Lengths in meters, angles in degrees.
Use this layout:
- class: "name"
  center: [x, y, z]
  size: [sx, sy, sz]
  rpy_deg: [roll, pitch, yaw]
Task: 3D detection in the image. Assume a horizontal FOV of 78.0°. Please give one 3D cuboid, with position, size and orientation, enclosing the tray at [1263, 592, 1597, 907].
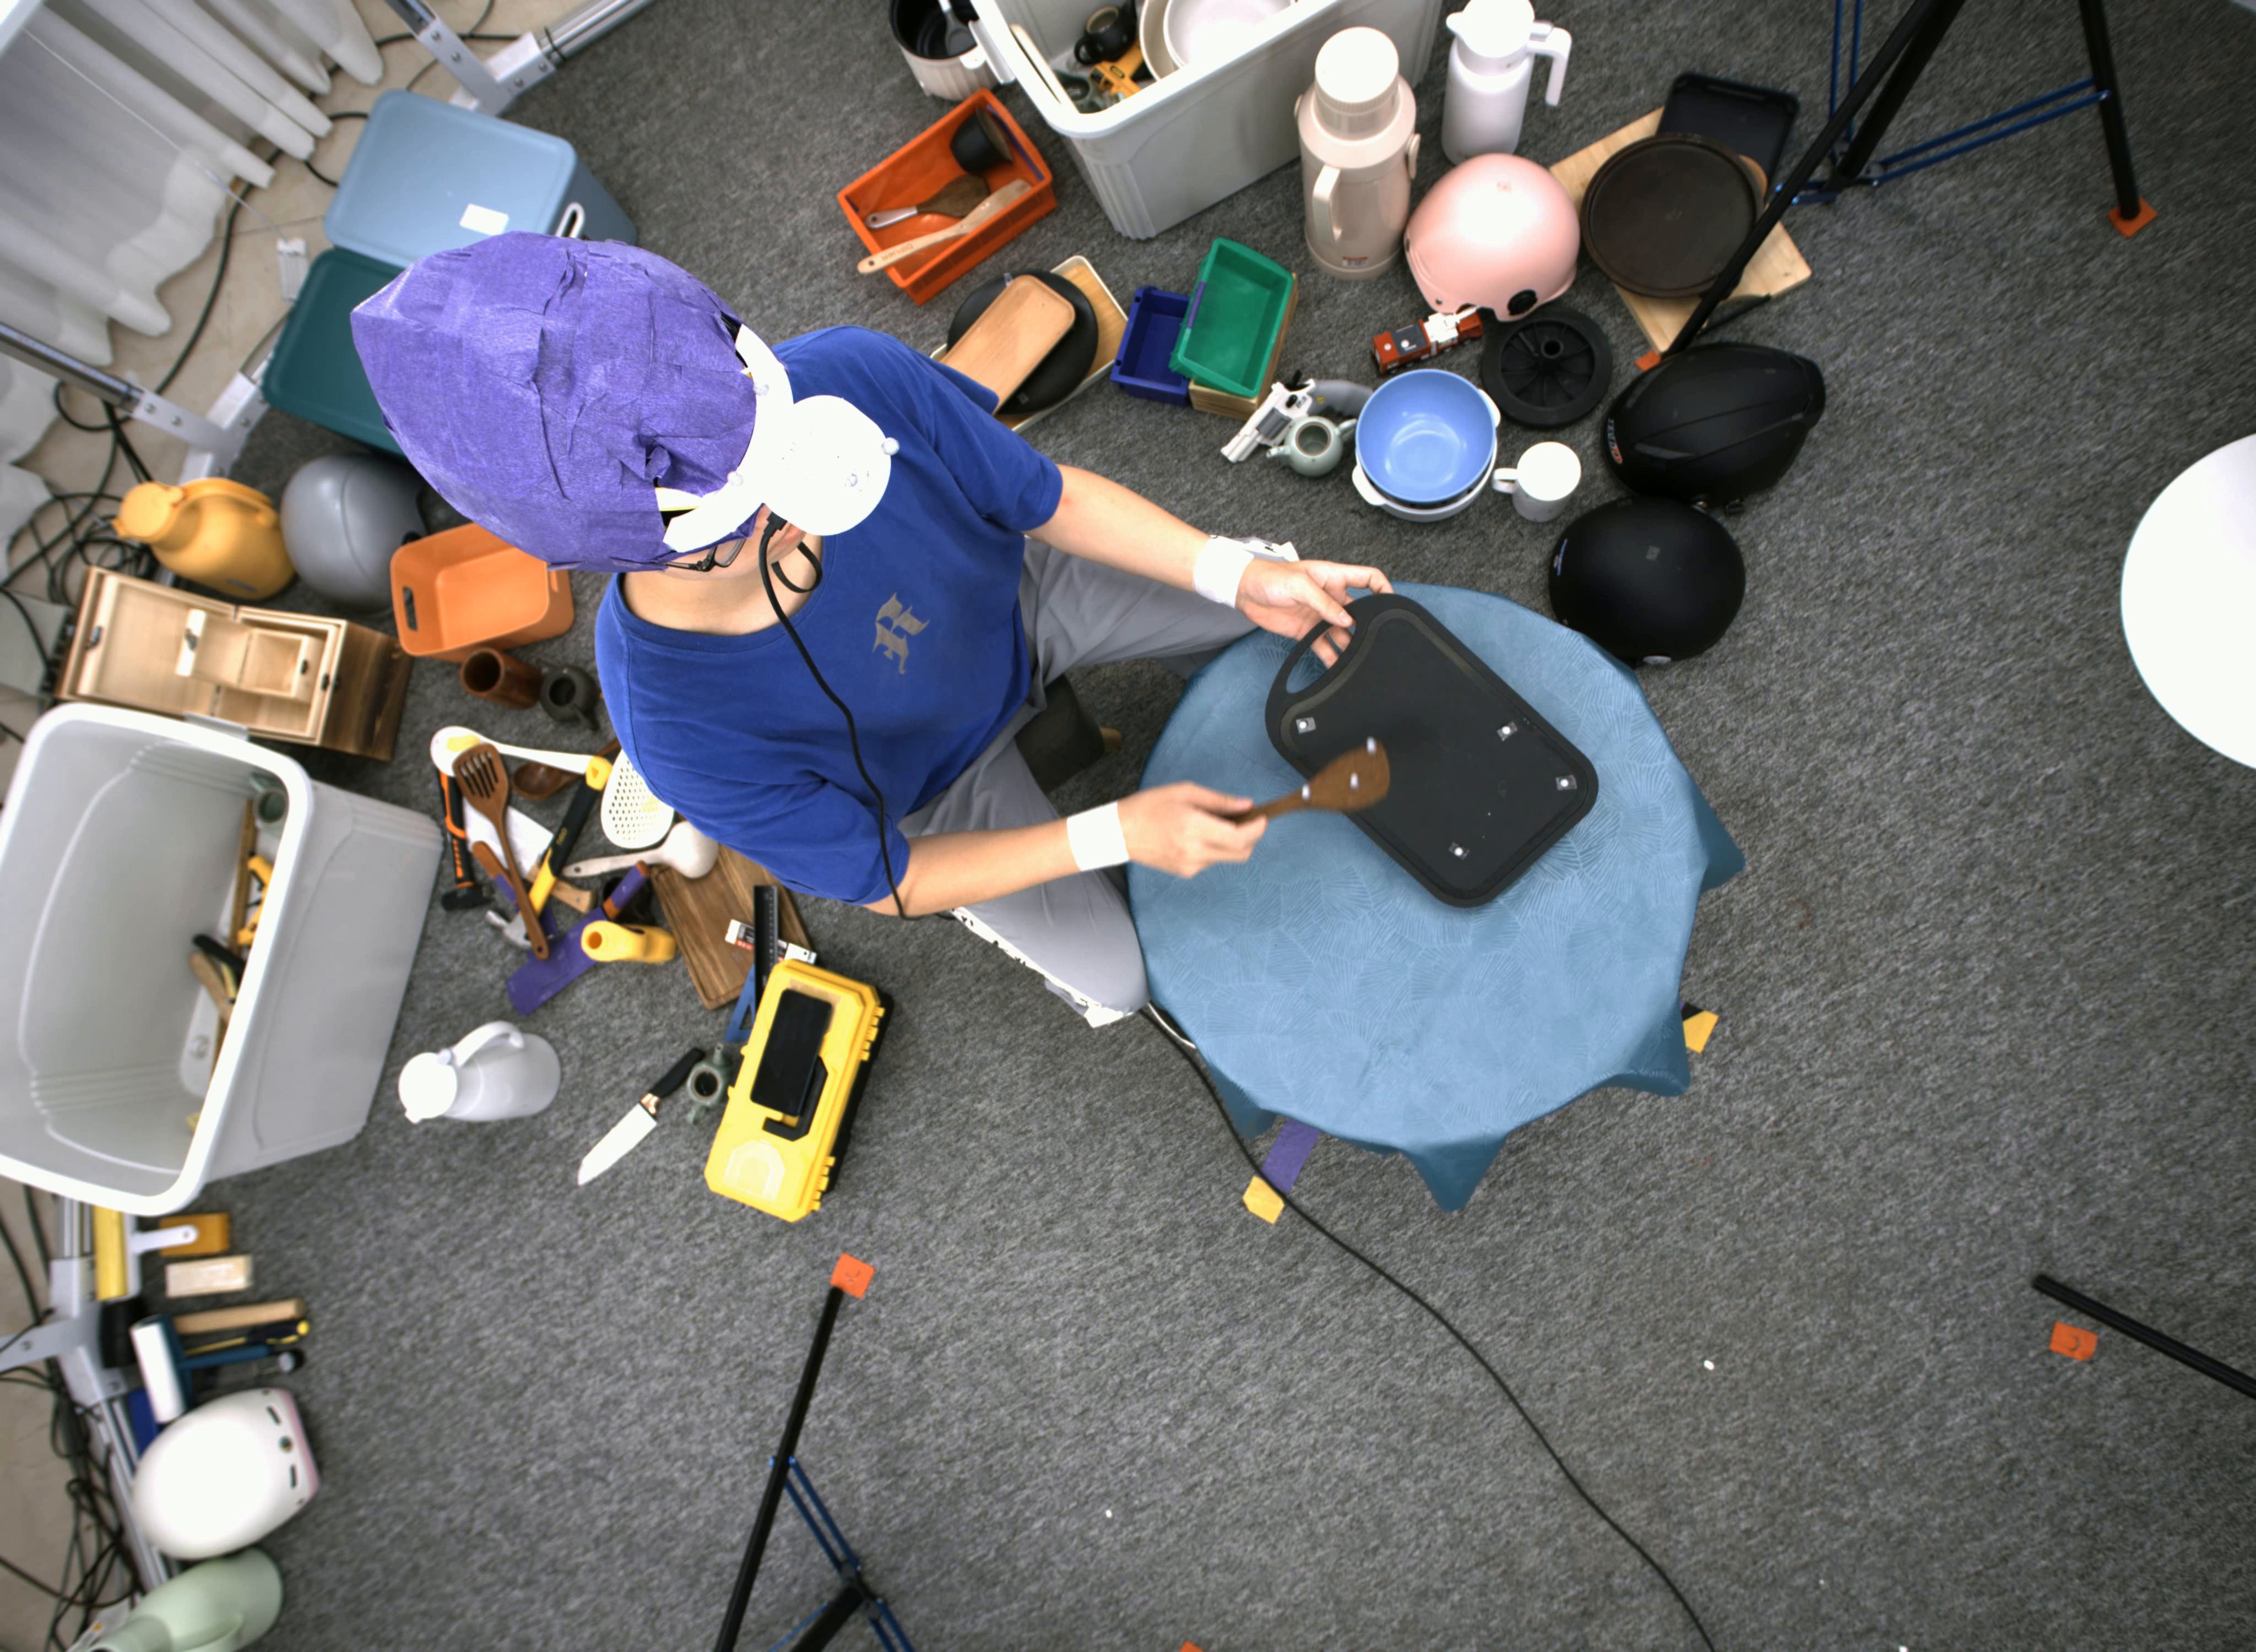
- class: "tray"
  center: [0.291, -0.078, 1.370]
  size: [0.326, 0.009, 0.215]
  rpy_deg: [42, 117, -2]

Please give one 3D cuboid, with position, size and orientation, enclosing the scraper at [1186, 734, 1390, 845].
- class: "scraper"
  center: [0.149, -0.027, 1.312]
  size: [0.214, 0.011, 0.074]
  rpy_deg: [-22, 43, 22]
